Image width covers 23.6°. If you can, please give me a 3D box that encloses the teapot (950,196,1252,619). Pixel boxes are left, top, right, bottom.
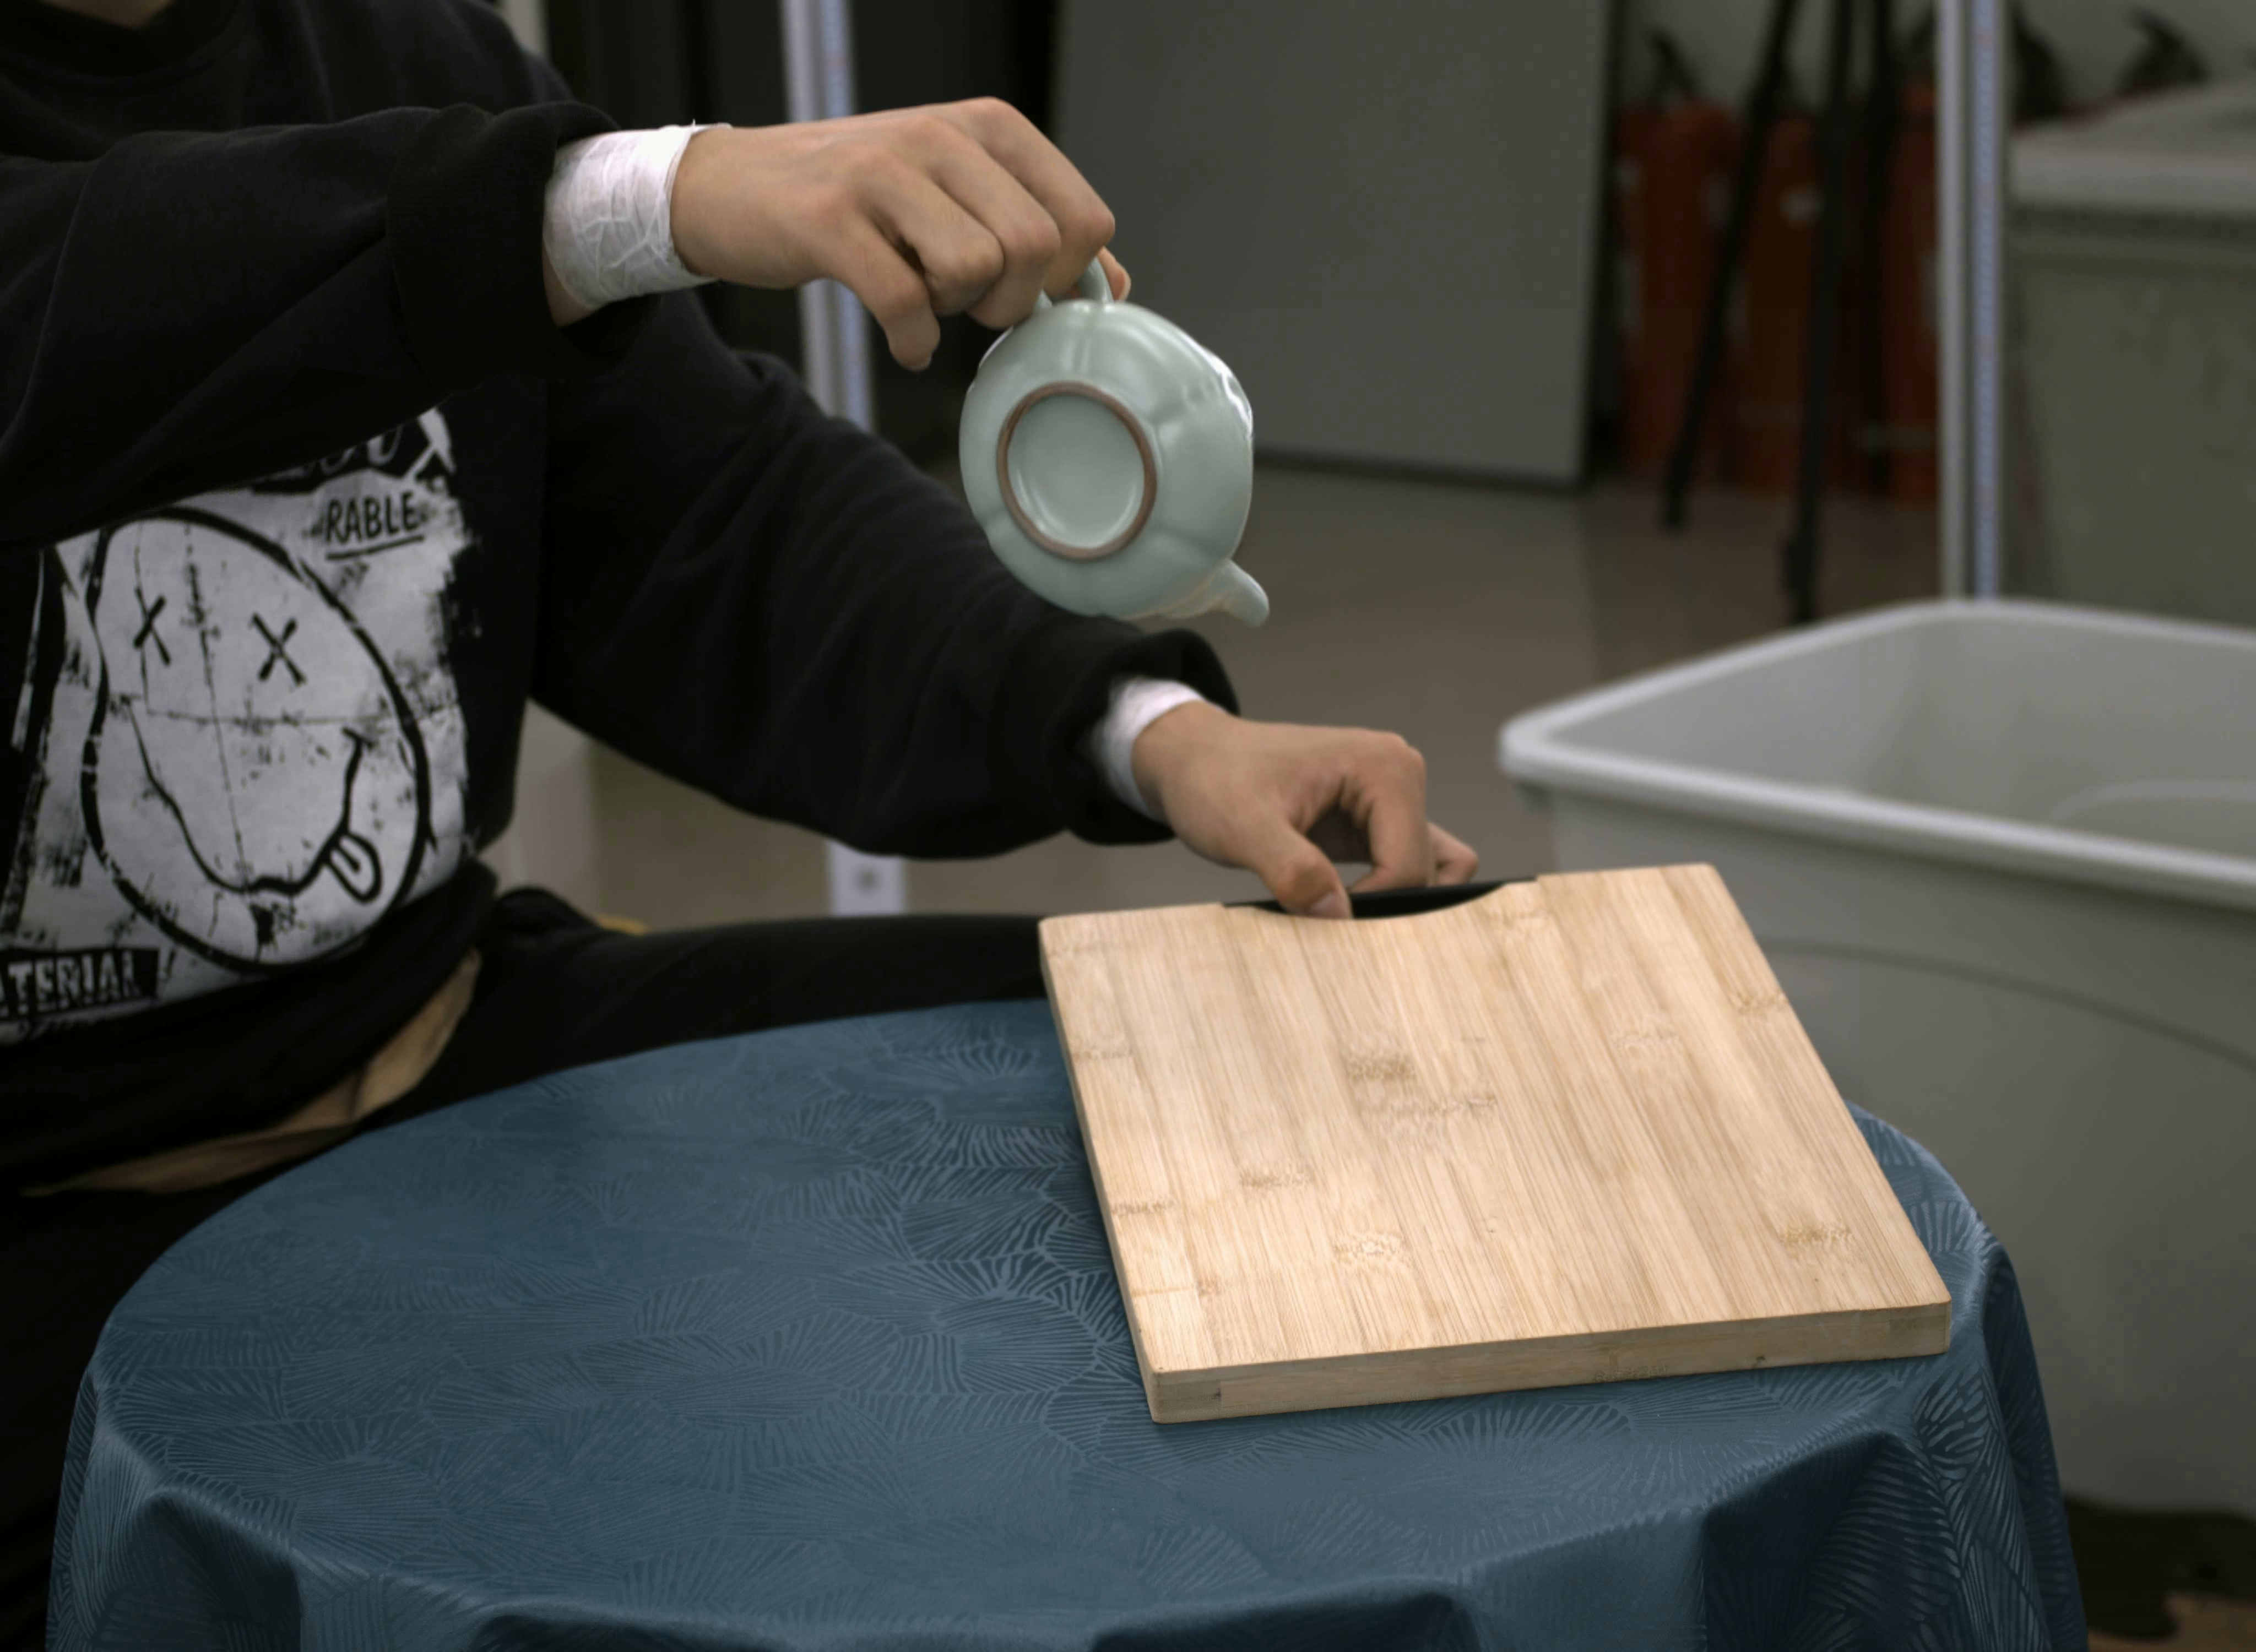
[{"bbox_3d":[-0.005,-0.119,1.596,0.097,0.138,0.060,-24,0,36],"label":"teapot"}]

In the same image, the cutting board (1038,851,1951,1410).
[{"bbox_3d":[0.105,0.091,1.726,0.247,0.024,0.350,-6,22,-5],"label":"cutting board"}]
